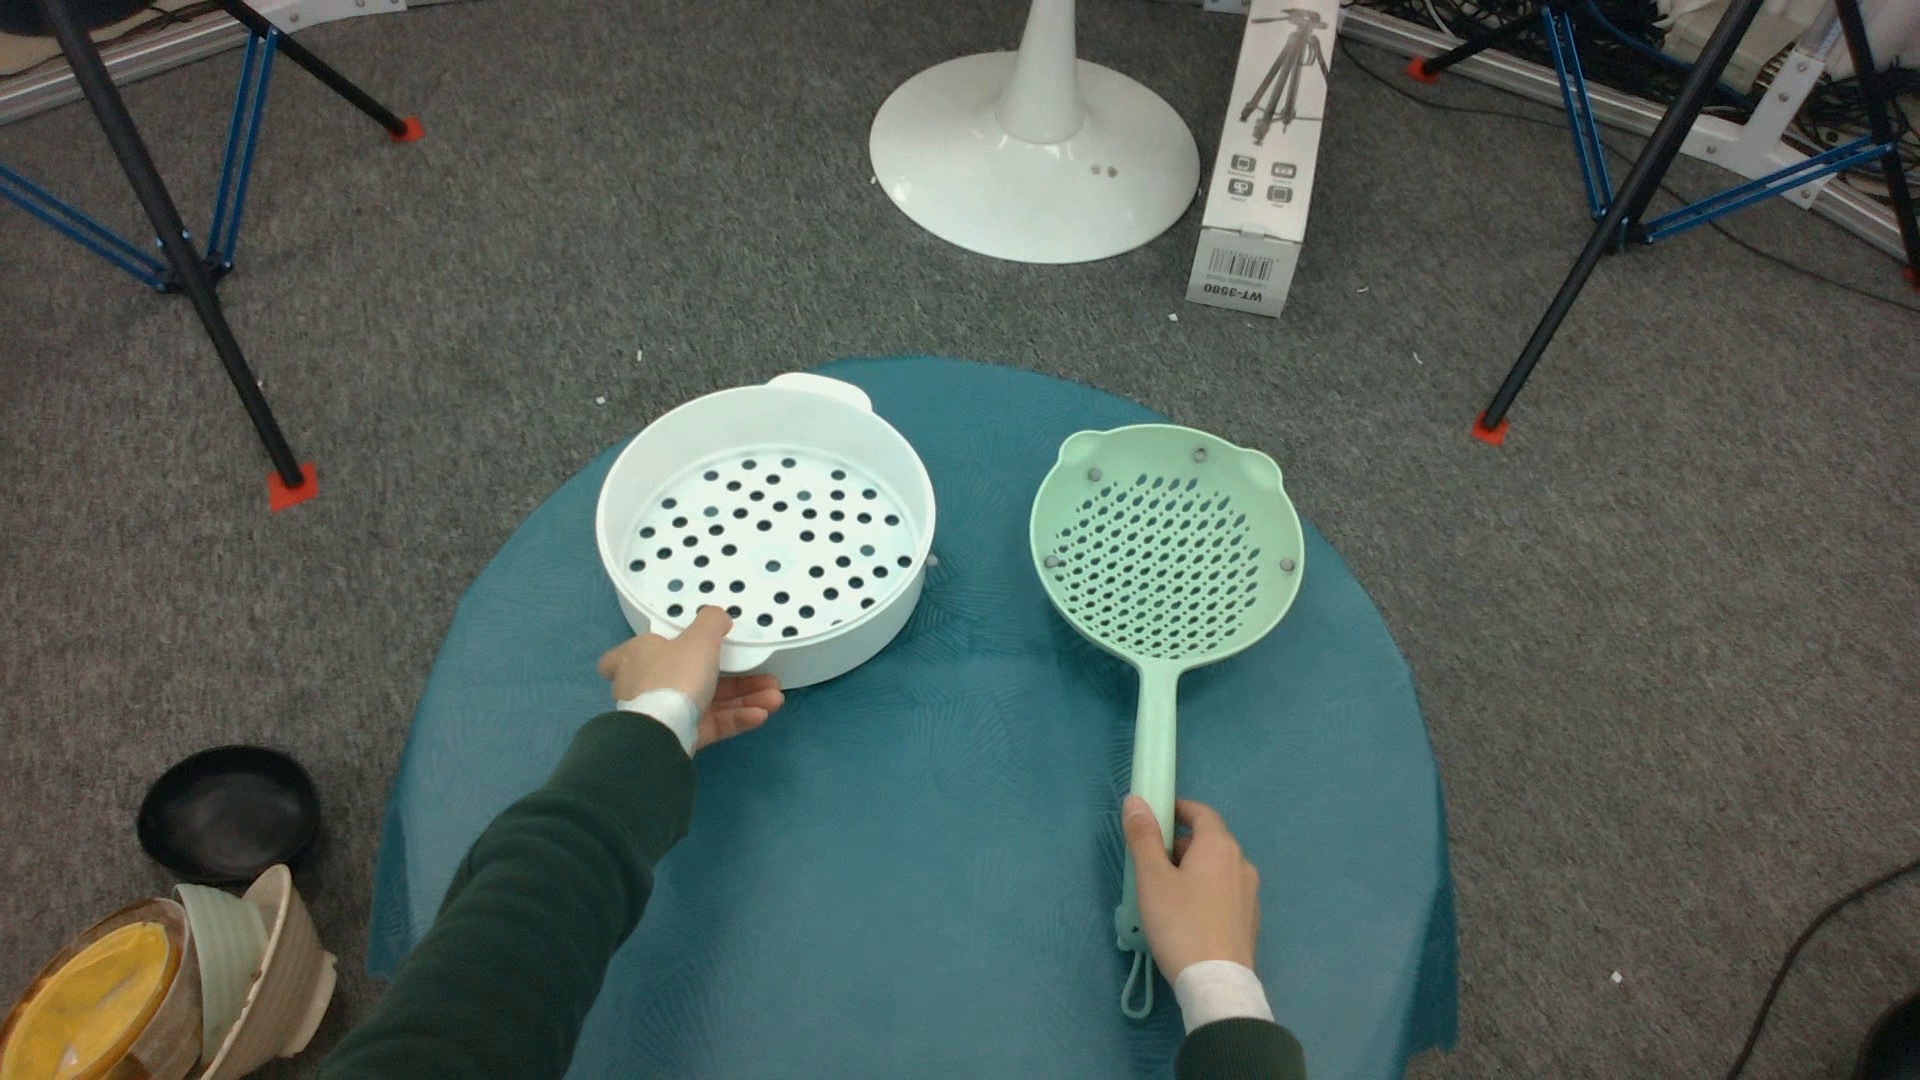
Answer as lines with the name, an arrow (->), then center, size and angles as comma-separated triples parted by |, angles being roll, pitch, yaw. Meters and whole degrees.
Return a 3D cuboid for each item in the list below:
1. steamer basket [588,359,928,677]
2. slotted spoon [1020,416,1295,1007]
steamer basket -> -0.122, -0.010, 0.850 | 0.202, 0.069, 0.232 | 12, 53, 5
slotted spoon -> 0.109, 0.082, 0.801 | 0.169, 0.075, 0.360 | 7, 51, 2
